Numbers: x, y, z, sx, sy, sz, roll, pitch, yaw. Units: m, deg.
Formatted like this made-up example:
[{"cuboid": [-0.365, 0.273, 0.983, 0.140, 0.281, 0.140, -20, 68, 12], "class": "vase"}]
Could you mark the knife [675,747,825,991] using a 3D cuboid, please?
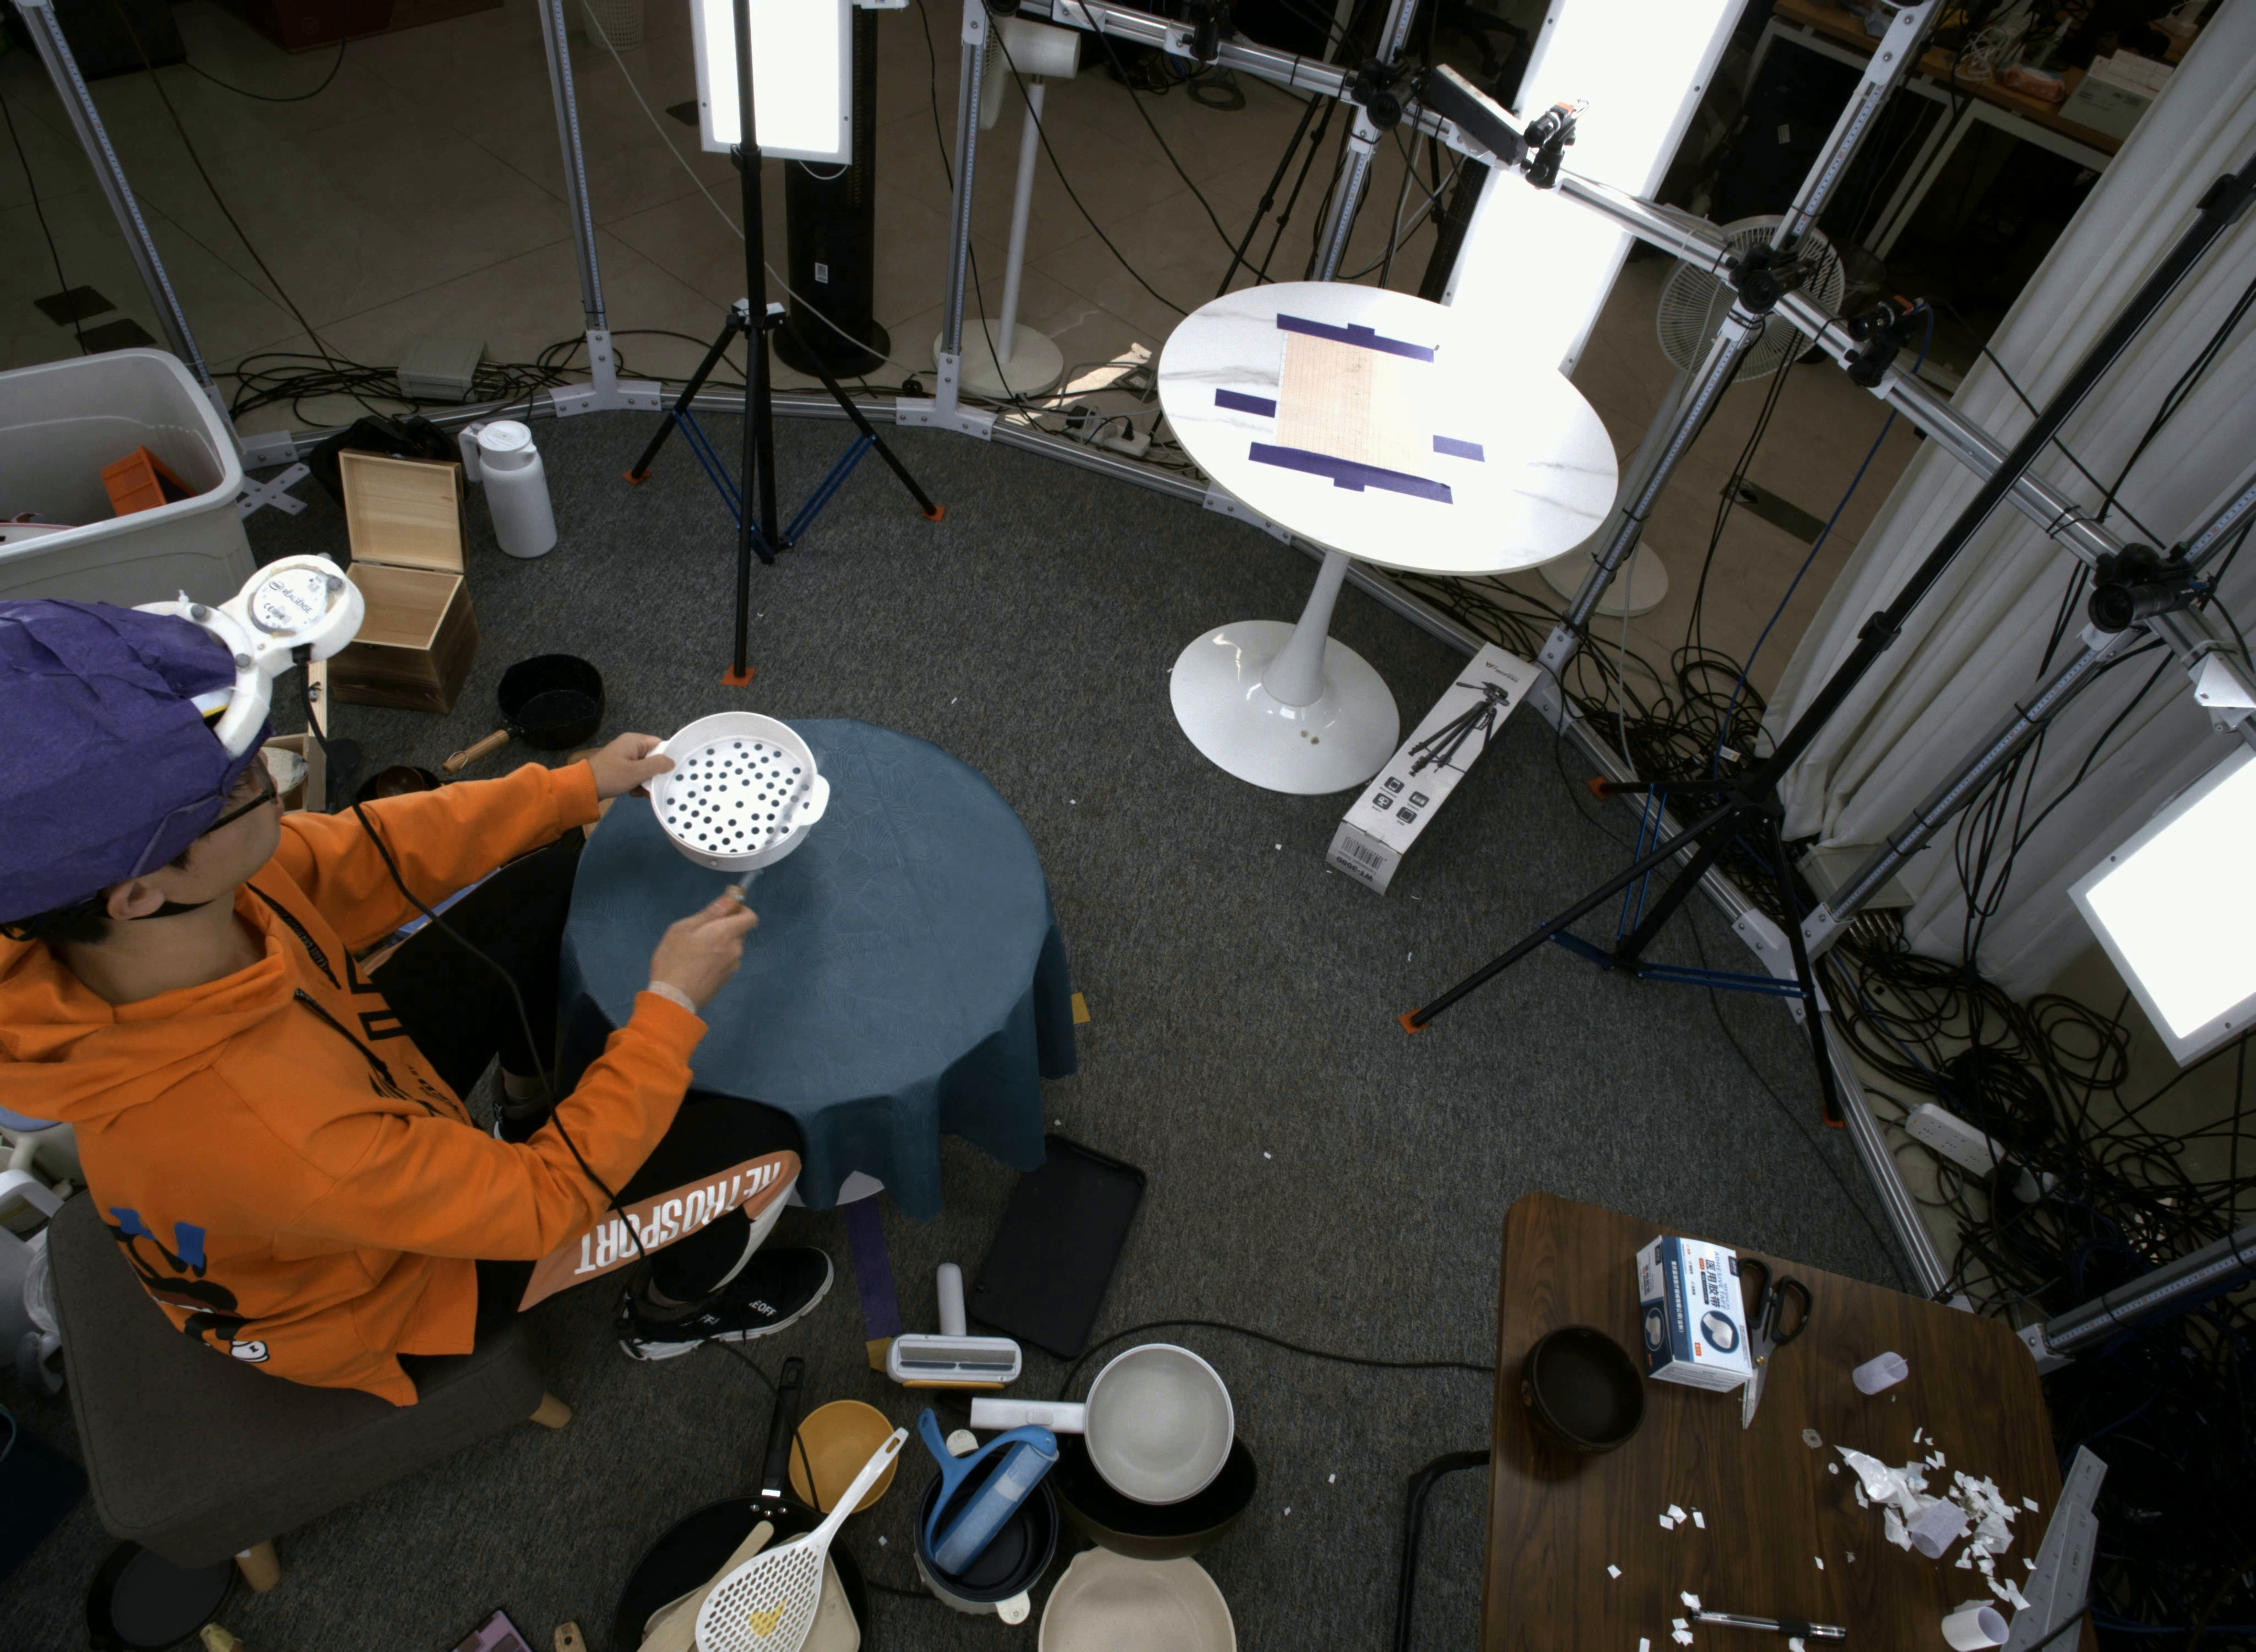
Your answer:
[{"cuboid": [-0.417, 0.047, 1.445, 0.021, 0.092, 0.306, 30, 75, -7], "class": "knife"}]

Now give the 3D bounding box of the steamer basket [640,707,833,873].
[{"cuboid": [-0.478, -0.044, 1.584, 0.230, 0.070, 0.200, 13, 62, -10], "class": "steamer basket"}]
